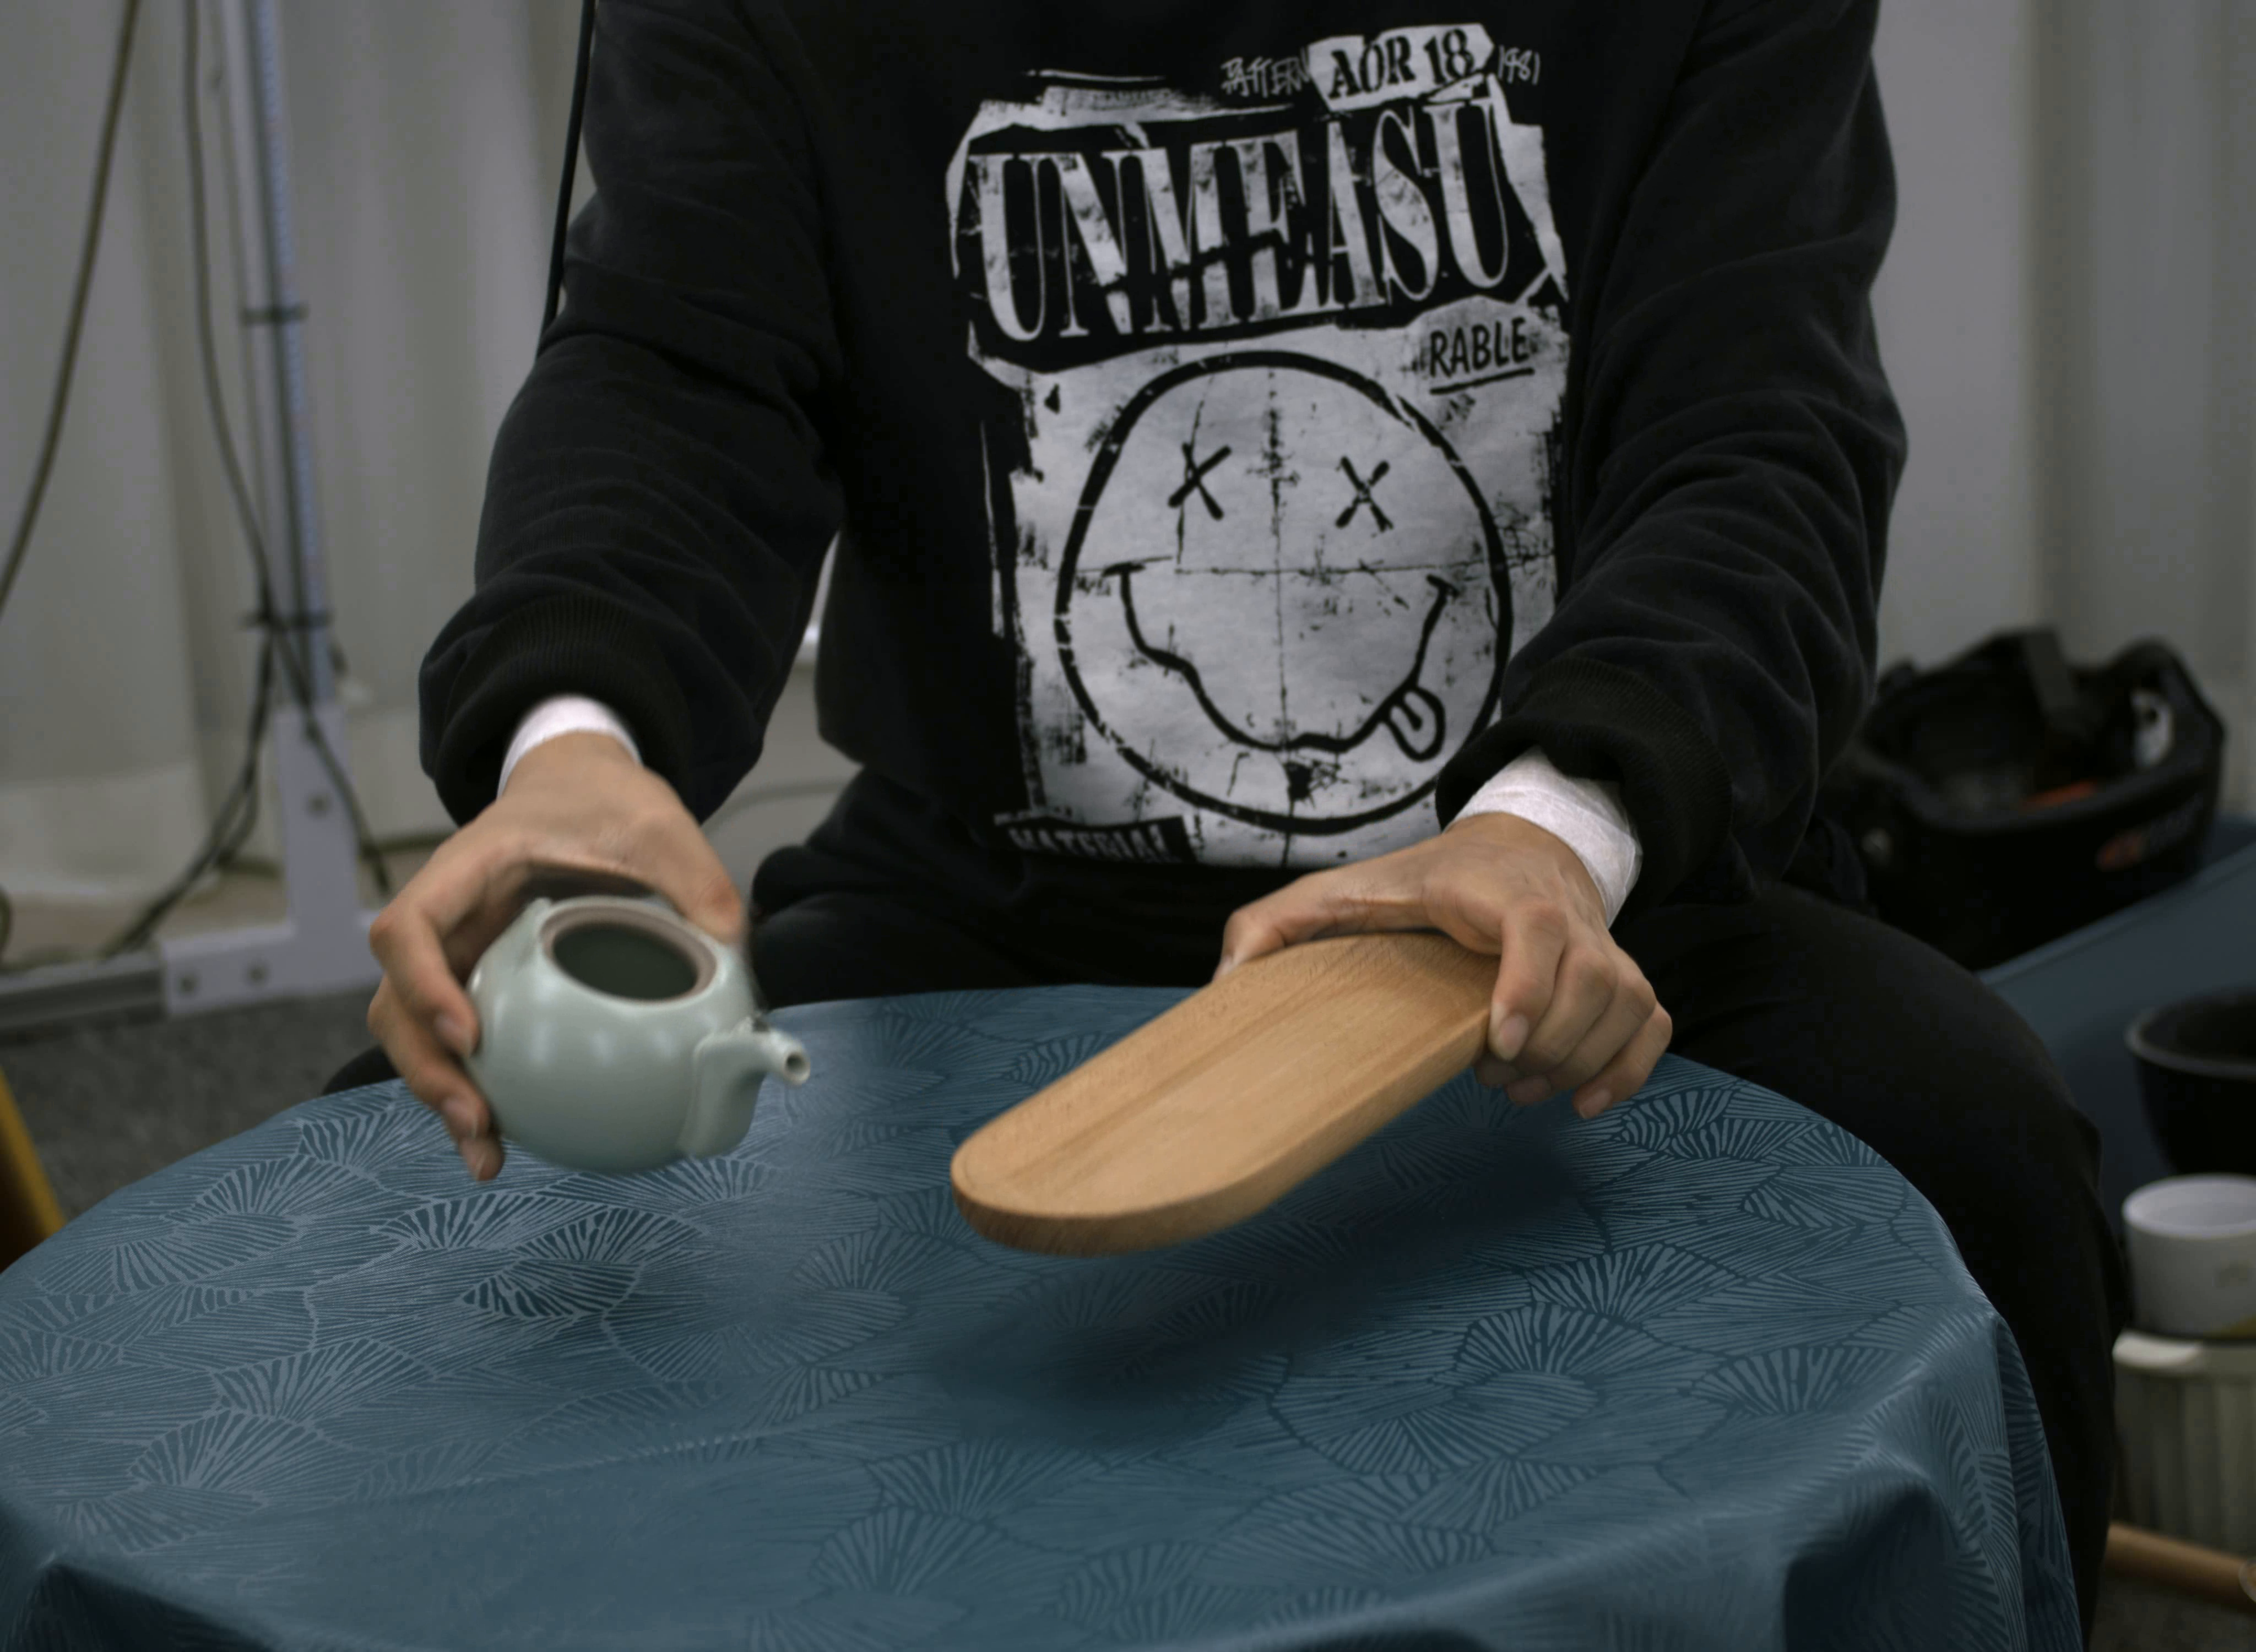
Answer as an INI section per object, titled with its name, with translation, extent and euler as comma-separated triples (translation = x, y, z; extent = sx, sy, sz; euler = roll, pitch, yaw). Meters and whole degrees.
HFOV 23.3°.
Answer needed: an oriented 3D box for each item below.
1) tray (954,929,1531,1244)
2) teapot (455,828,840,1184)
[tray]
translation = 0.037, 0.075, 1.614
extent = 0.102, 0.020, 0.231
euler = 6, 20, 33
[teapot]
translation = -0.146, 0.064, 1.609
extent = 0.145, 0.074, 0.088
euler = 34, 32, 28
